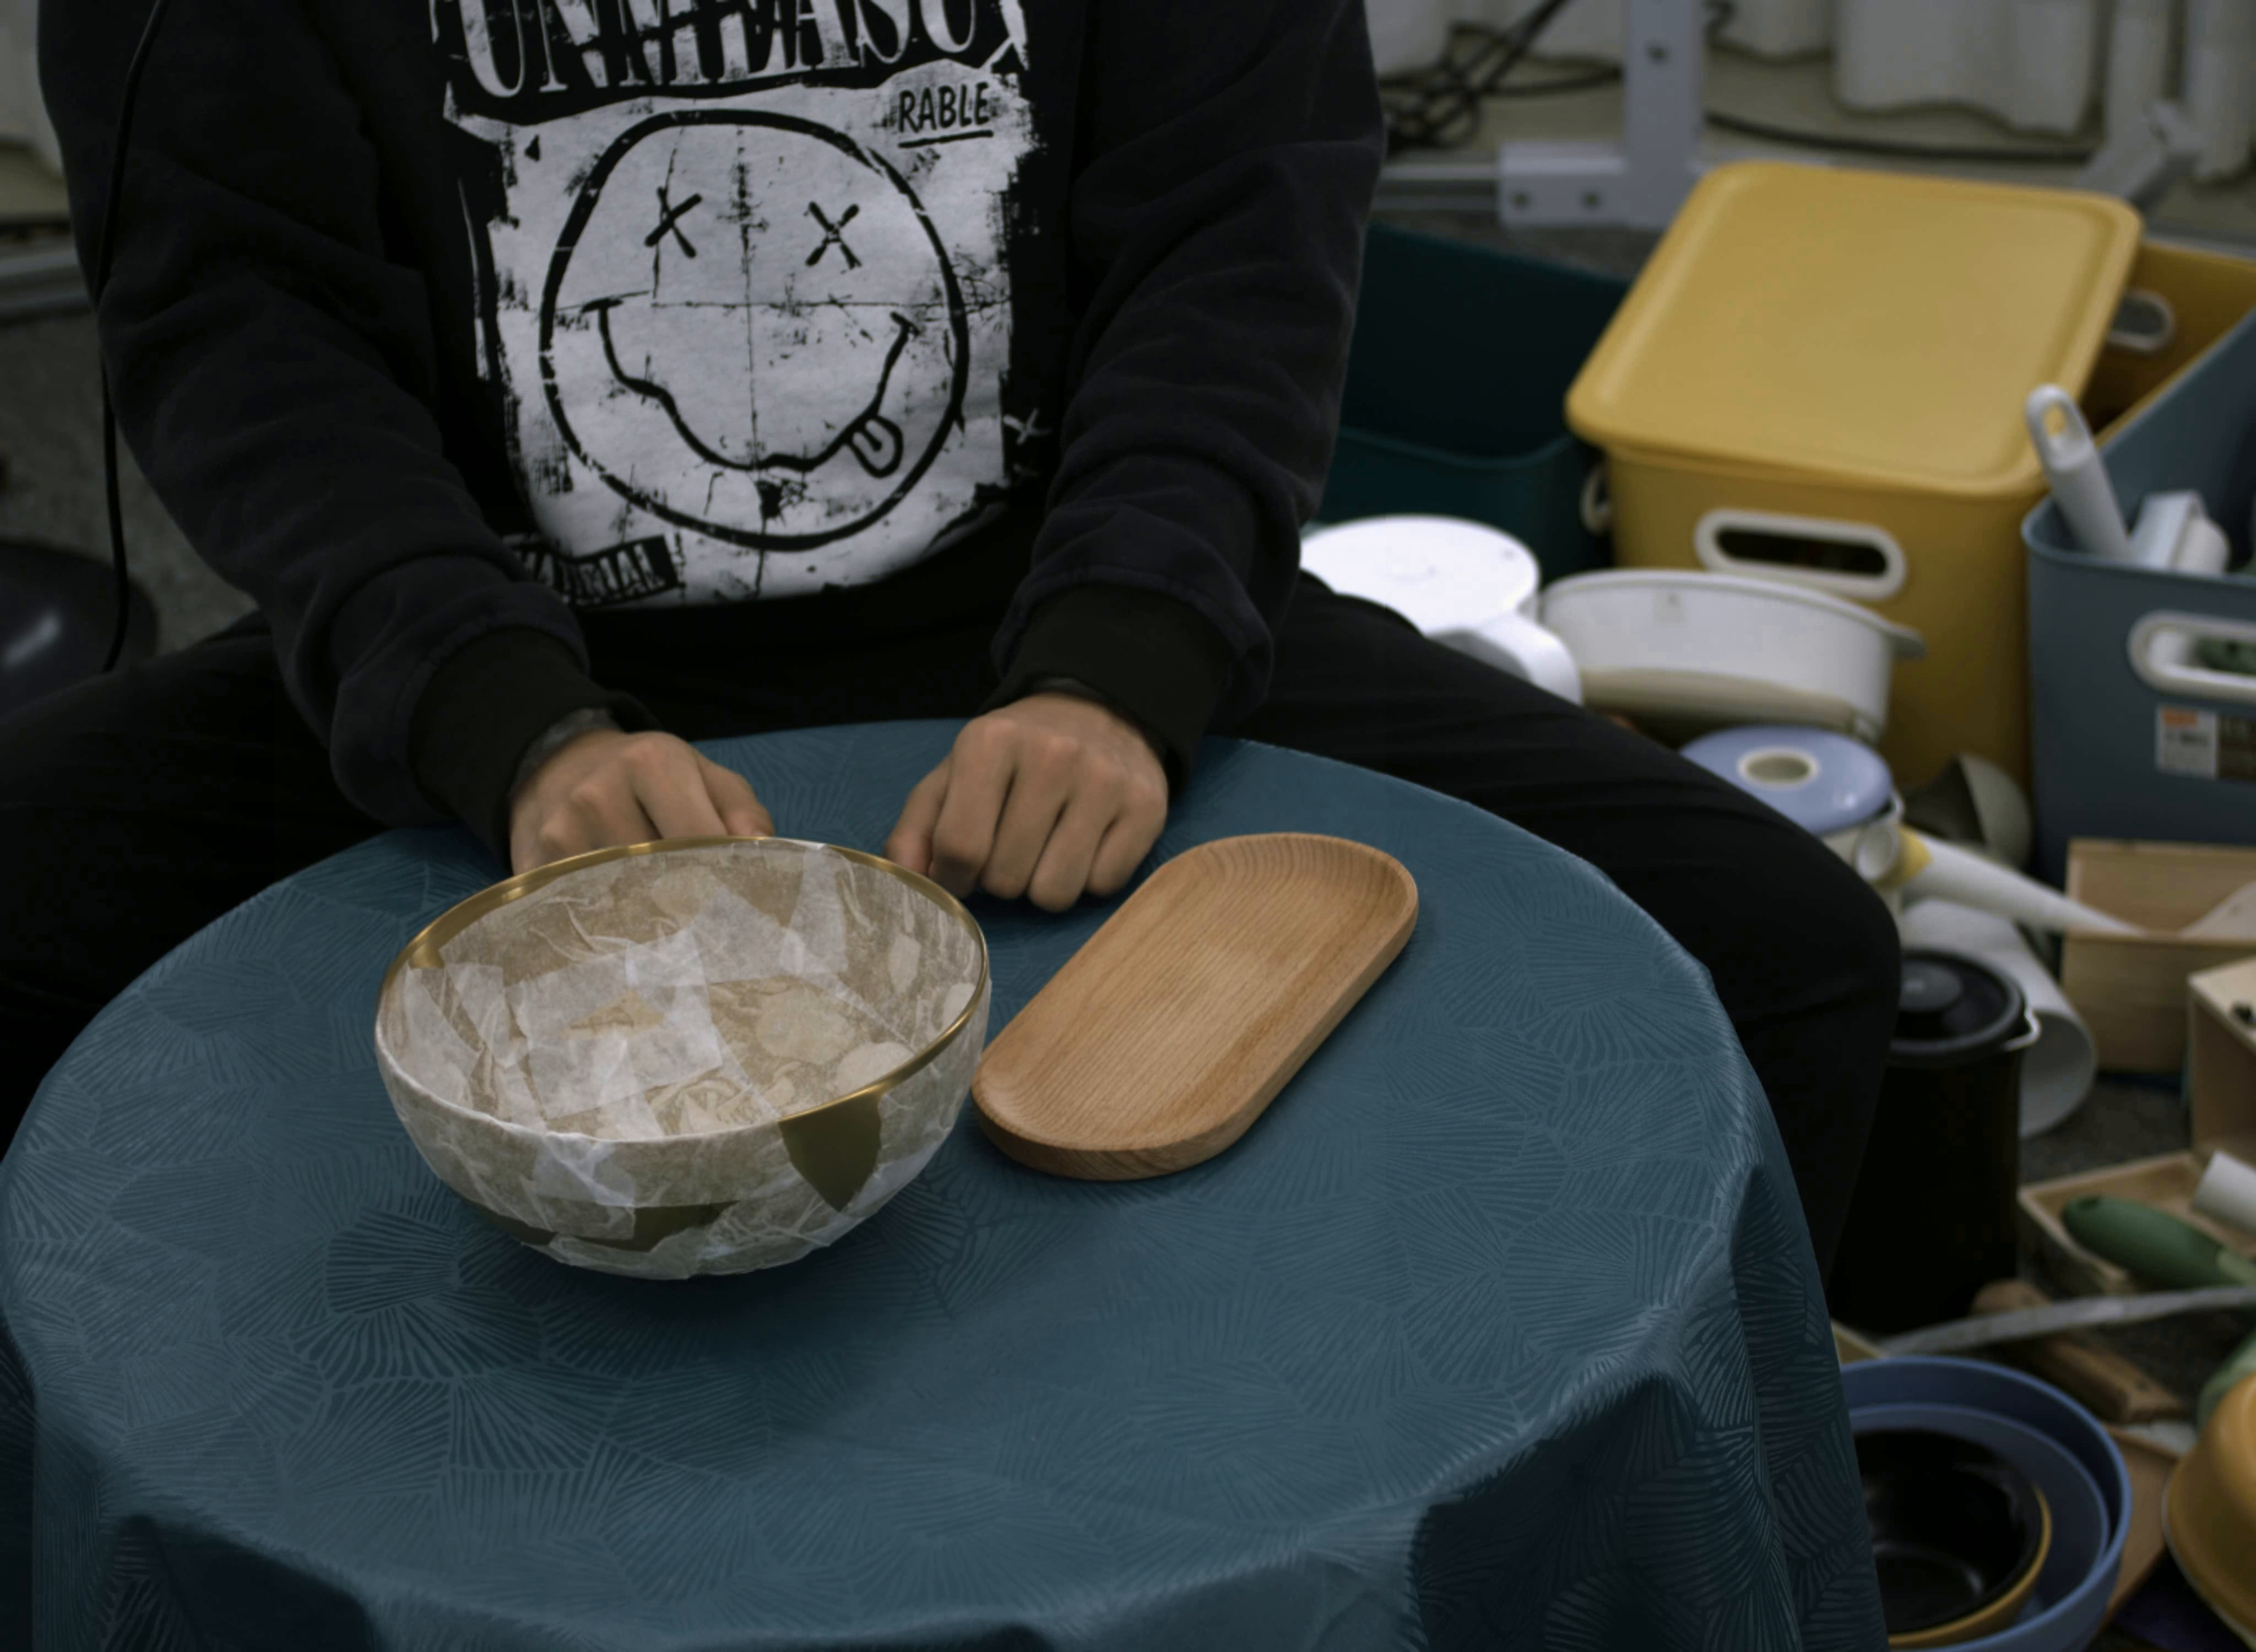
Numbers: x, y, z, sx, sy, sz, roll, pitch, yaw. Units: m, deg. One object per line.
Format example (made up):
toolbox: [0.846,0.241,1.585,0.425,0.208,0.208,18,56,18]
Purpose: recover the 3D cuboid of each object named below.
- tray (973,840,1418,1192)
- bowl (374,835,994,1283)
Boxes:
tray: [0.026,0.064,1.954,0.101,0.020,0.235,7,31,24]
bowl: [-0.138,0.088,1.841,0.213,0.093,0.218,-3,26,2]
